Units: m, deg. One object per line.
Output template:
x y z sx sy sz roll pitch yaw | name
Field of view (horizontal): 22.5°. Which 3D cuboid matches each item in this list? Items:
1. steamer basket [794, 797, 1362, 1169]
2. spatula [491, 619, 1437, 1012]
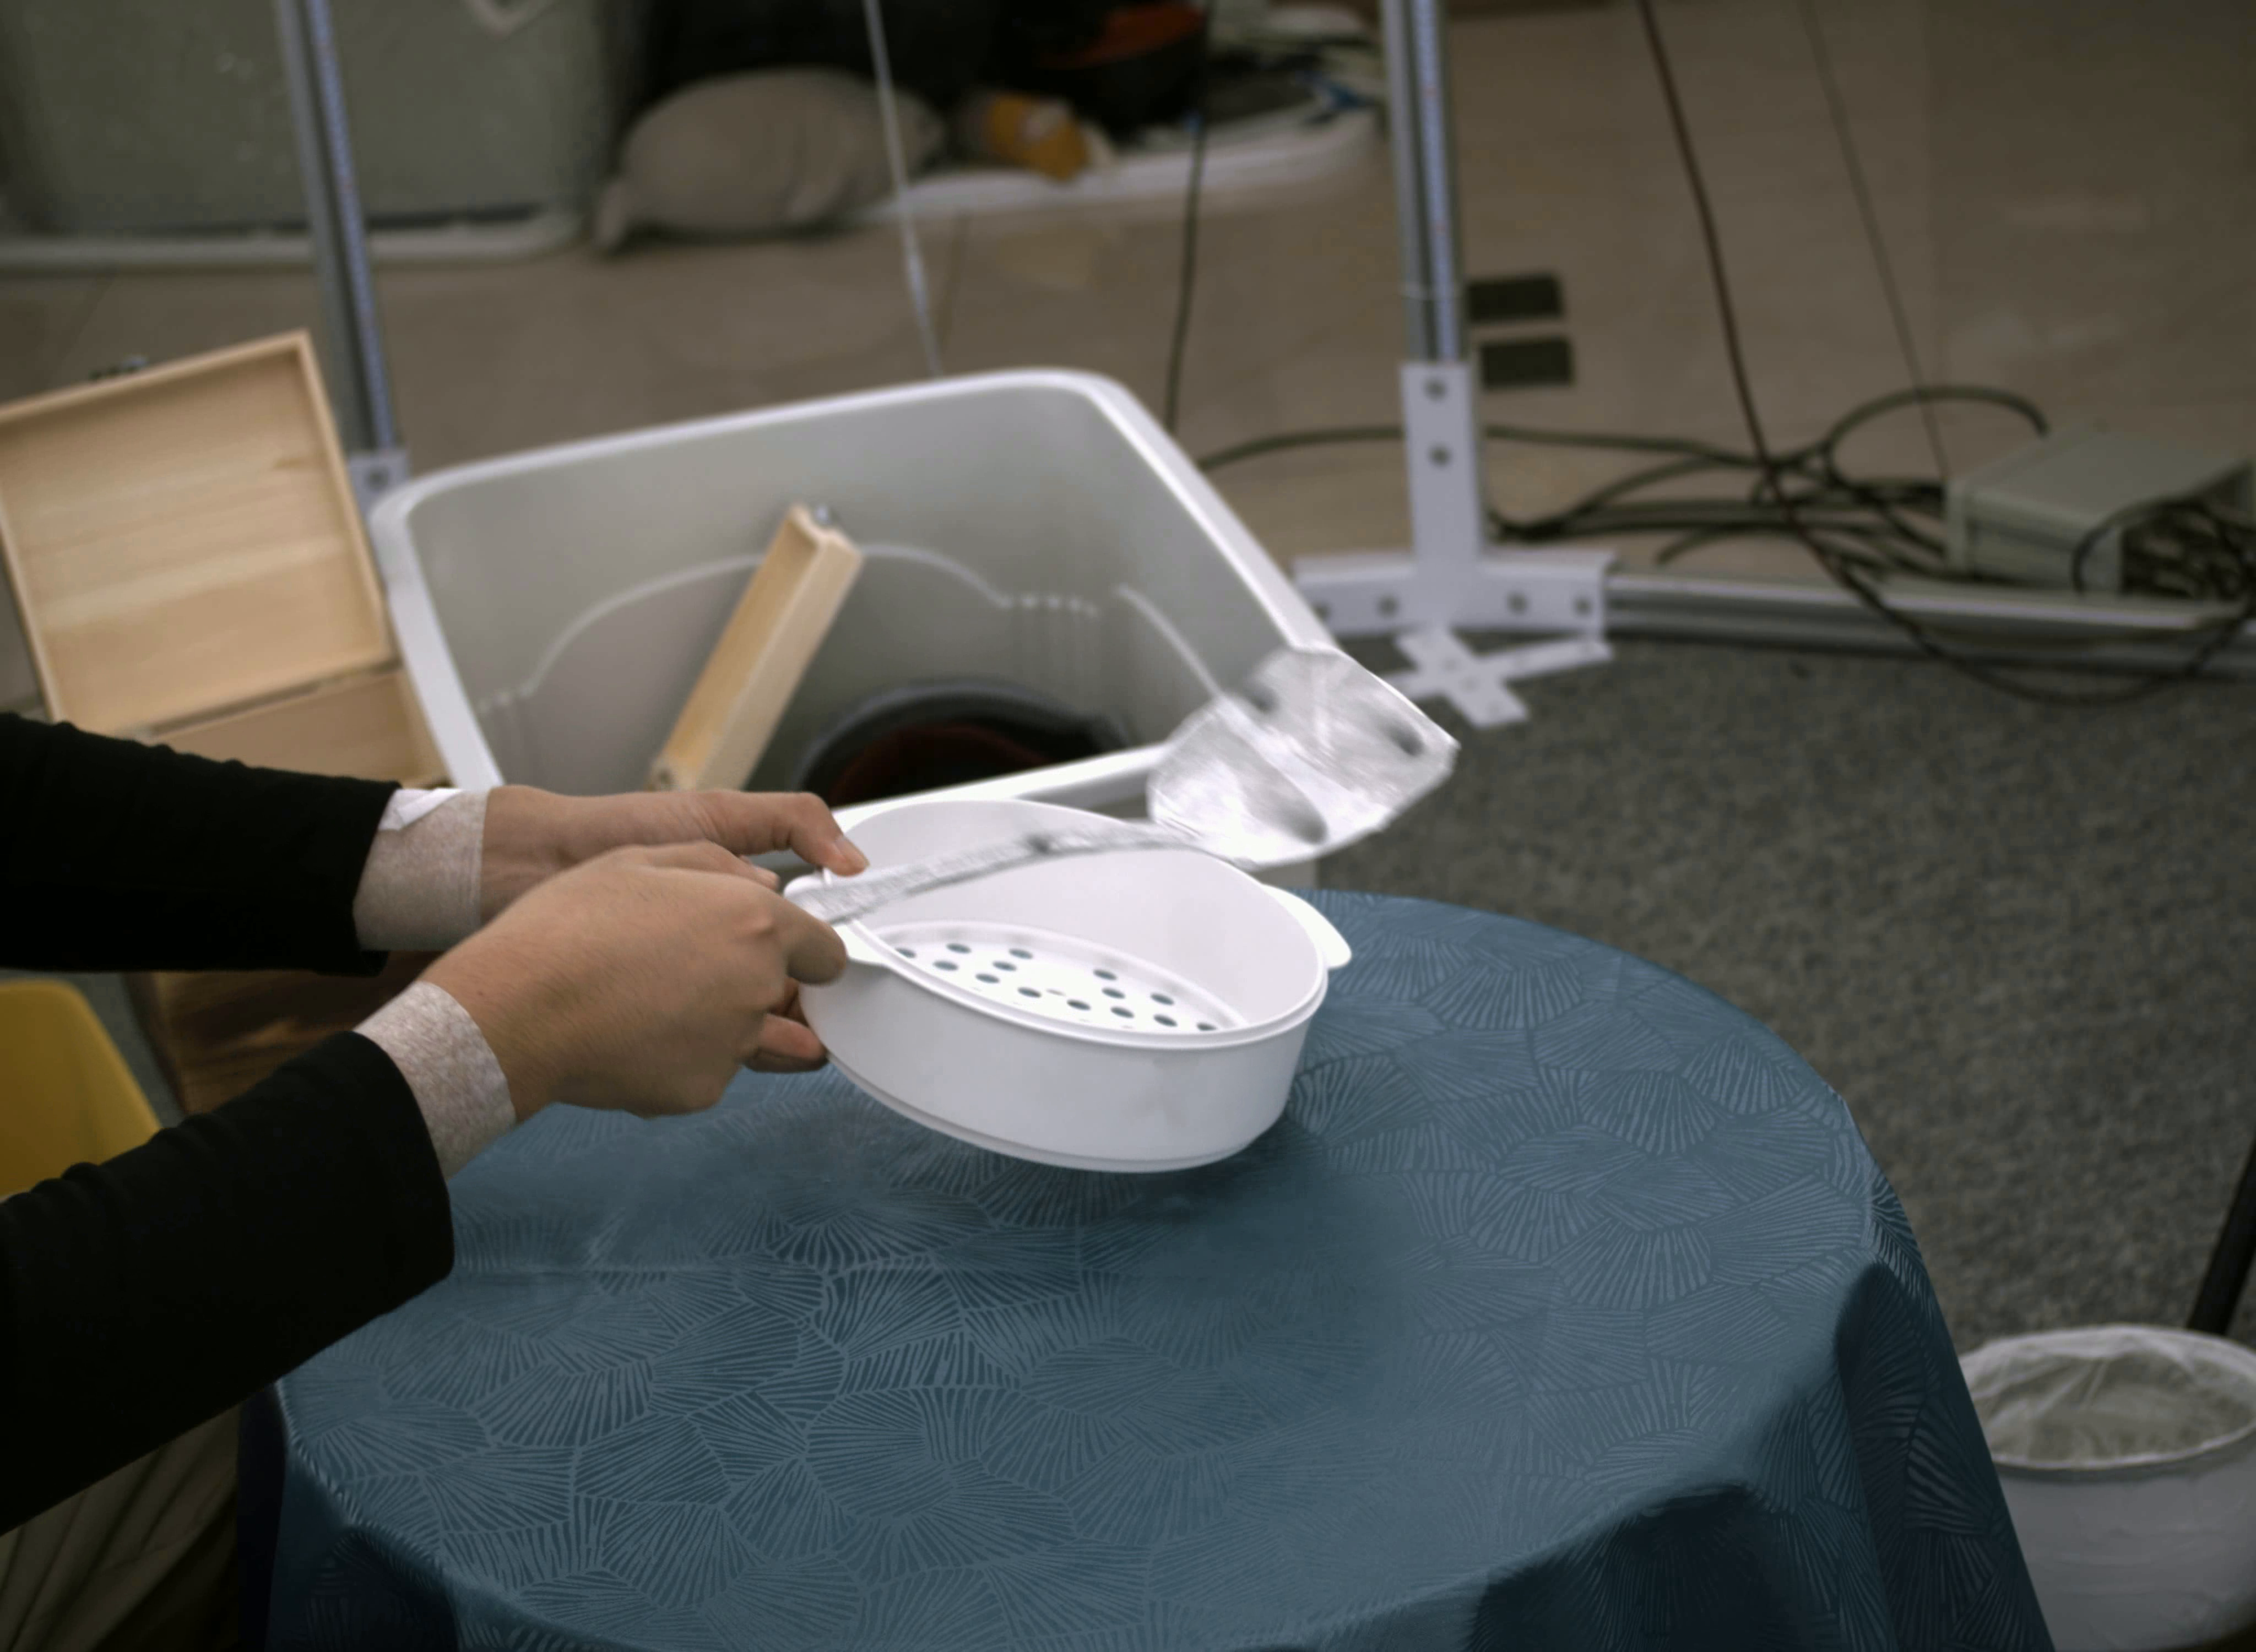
-0.023 0.060 2.172 0.230 0.070 0.199 1 26 -27 | steamer basket
-0.056 0.004 1.970 0.363 0.045 0.097 -16 43 -32 | spatula
